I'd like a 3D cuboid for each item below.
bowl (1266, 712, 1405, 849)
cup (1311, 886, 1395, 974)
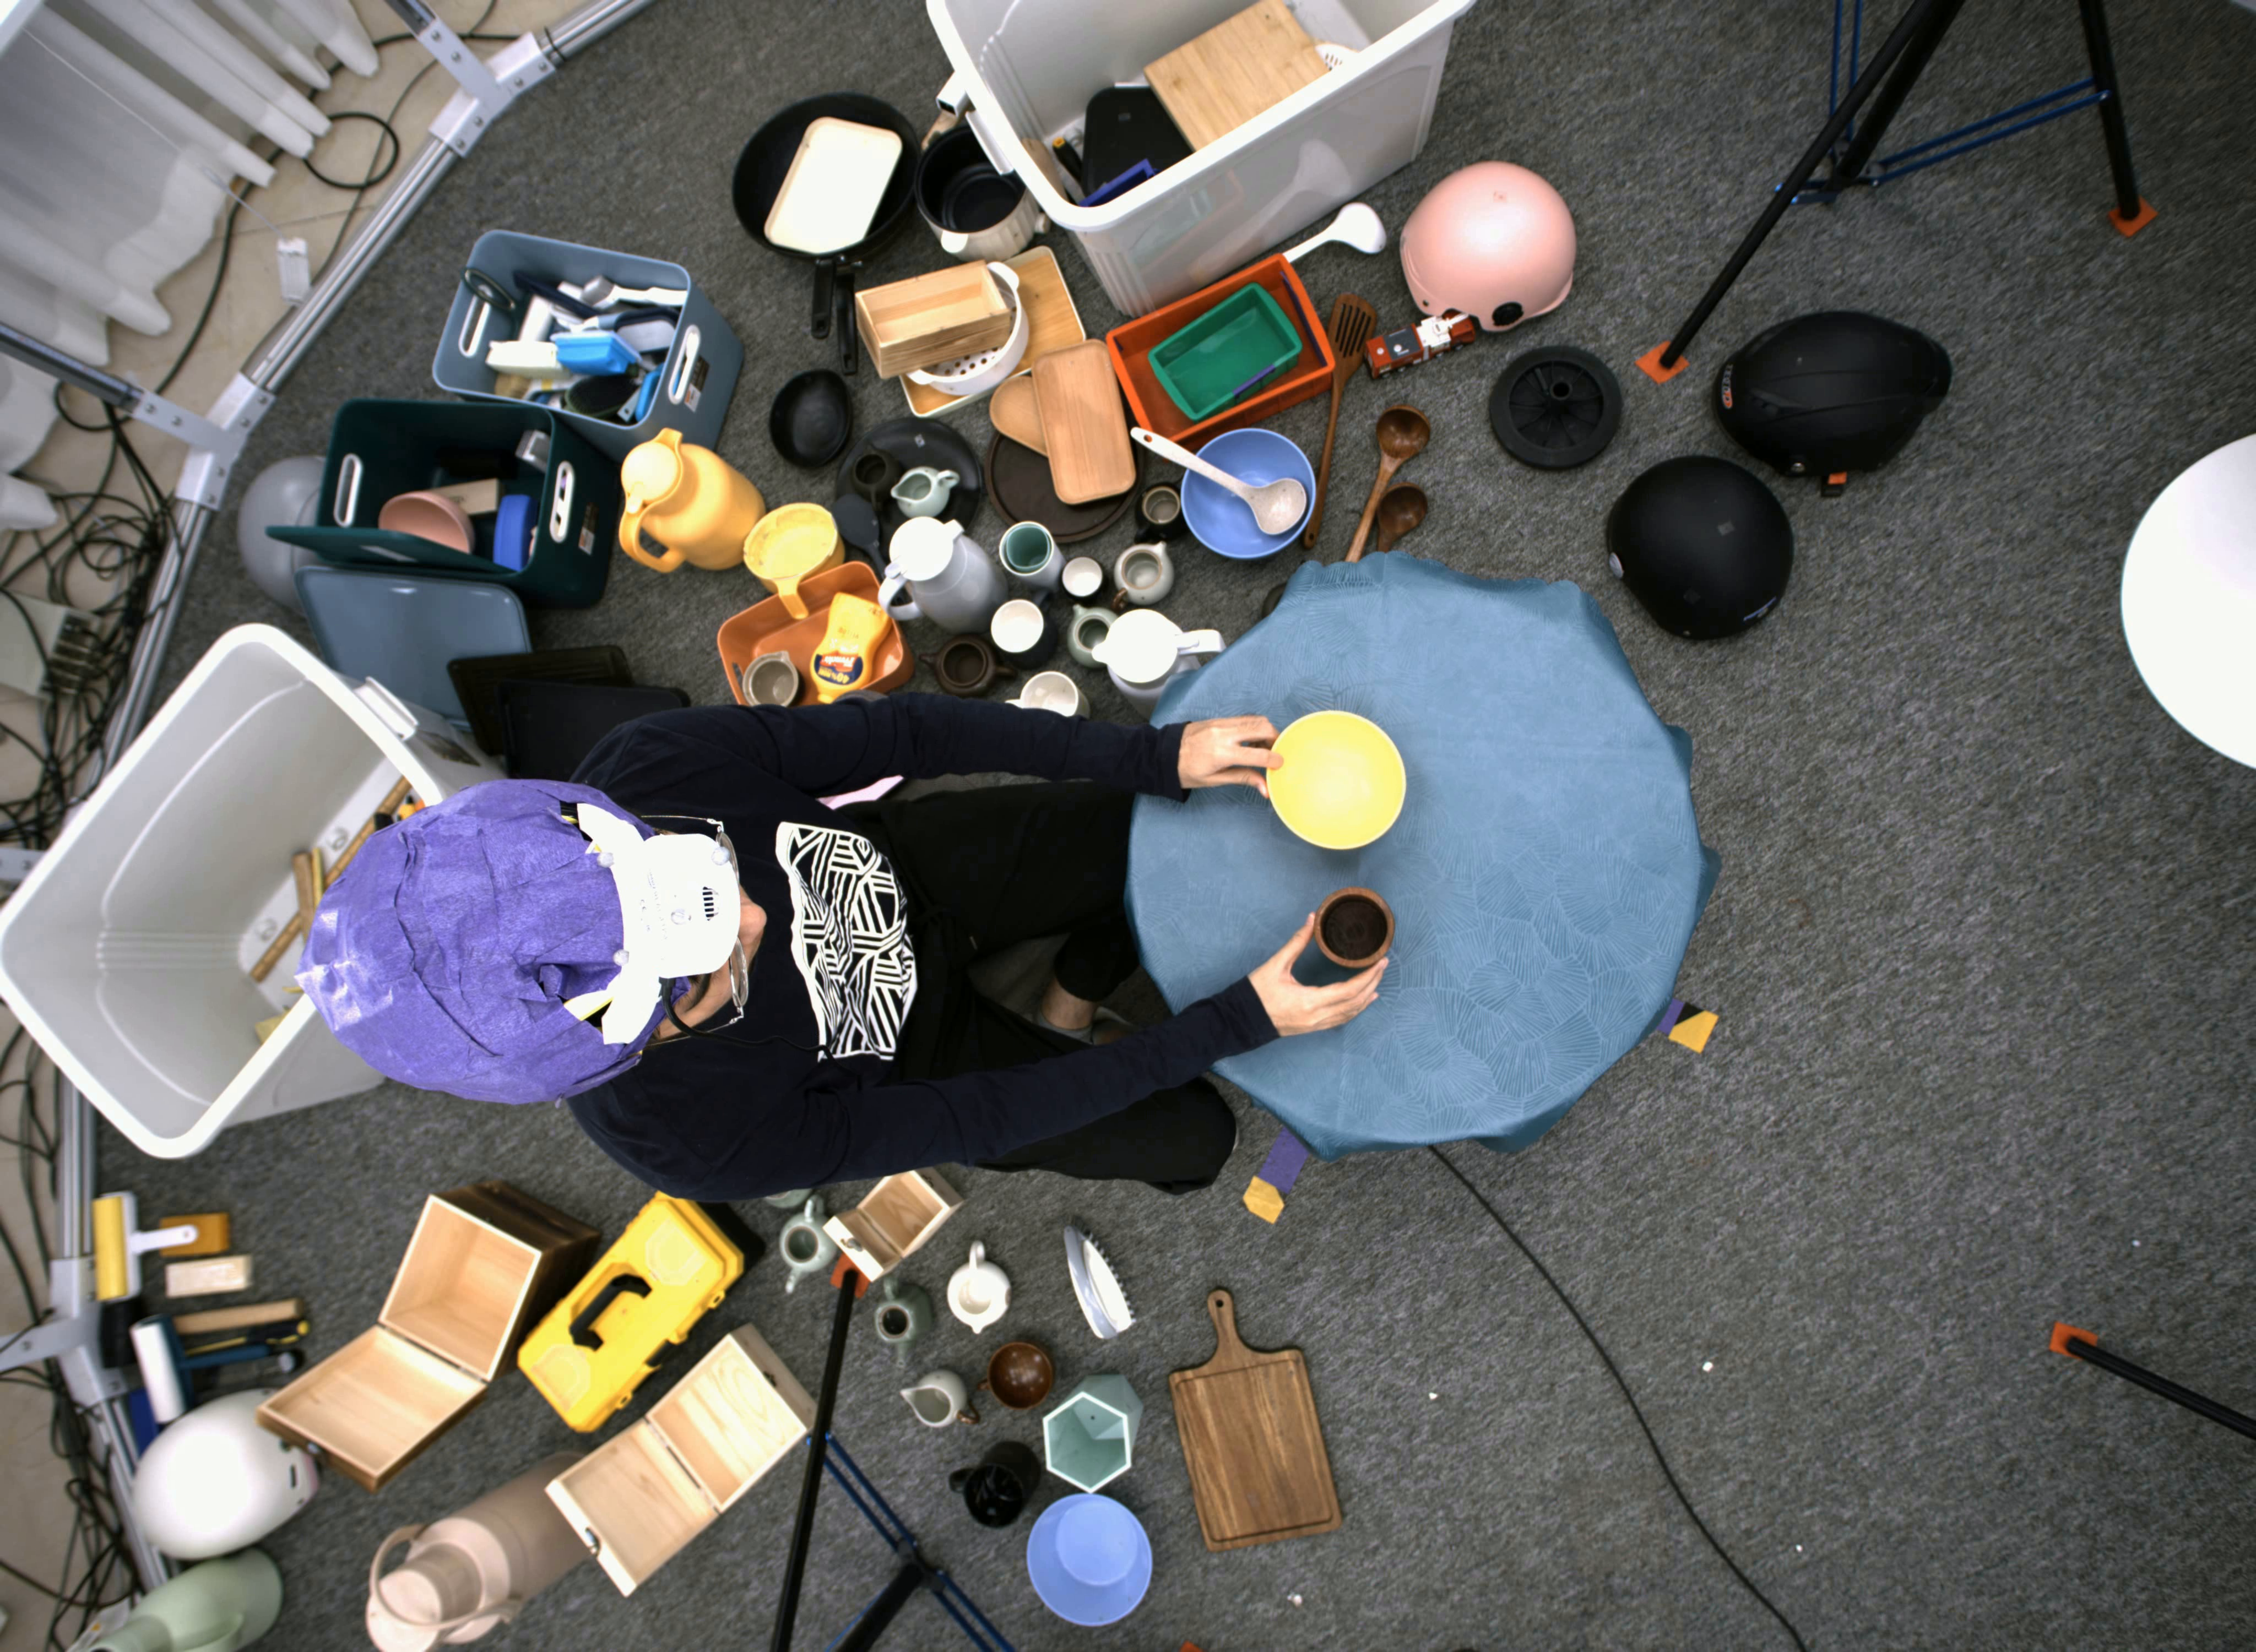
[{"bbox_3d":[0.209,-0.042,1.427,0.145,0.061,0.144,1,79,-3],"label":"bowl"},{"bbox_3d":[0.230,0.108,1.405,0.088,0.119,0.087,-2,81,11],"label":"cup"}]
